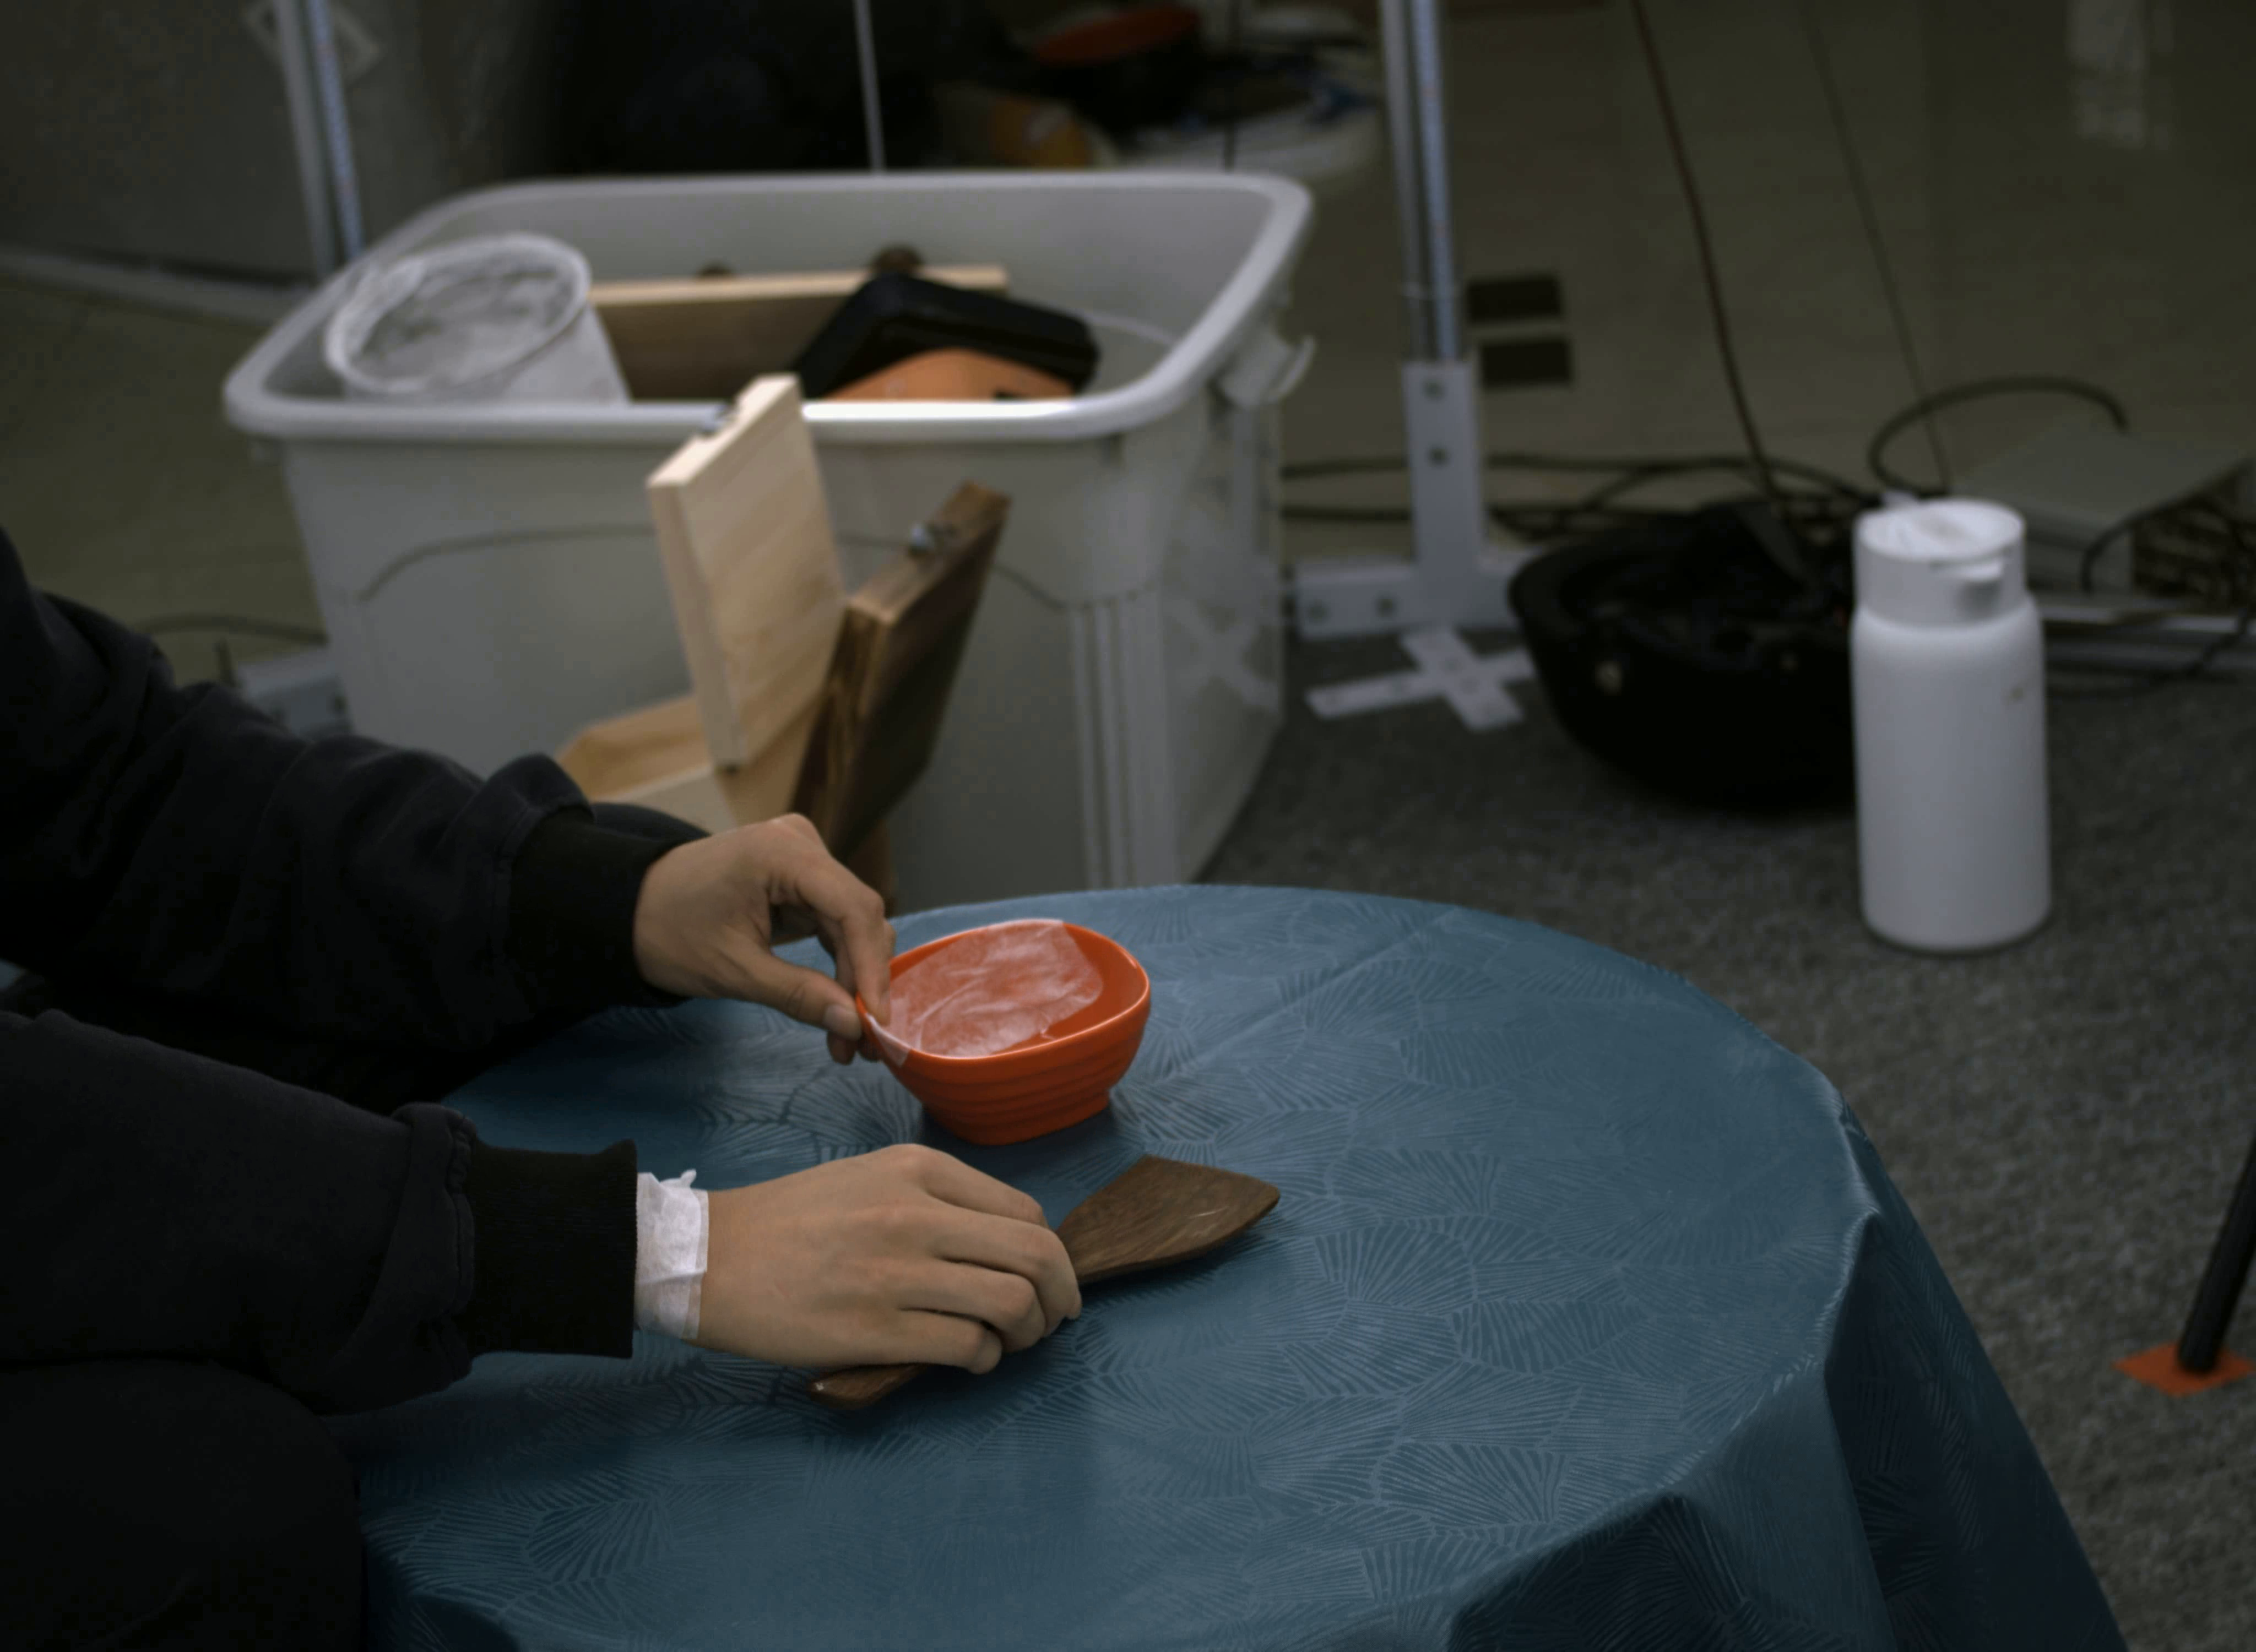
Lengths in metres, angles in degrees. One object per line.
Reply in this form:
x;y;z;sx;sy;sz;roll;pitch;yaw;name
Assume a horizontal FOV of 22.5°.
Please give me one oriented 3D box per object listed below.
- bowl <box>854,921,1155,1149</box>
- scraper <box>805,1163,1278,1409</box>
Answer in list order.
-0.047;0.086;2.217;0.119;0.052;0.117;-3;27;2;bowl
-0.036;0.169;2.071;0.075;0.011;0.209;11;27;43;scraper
